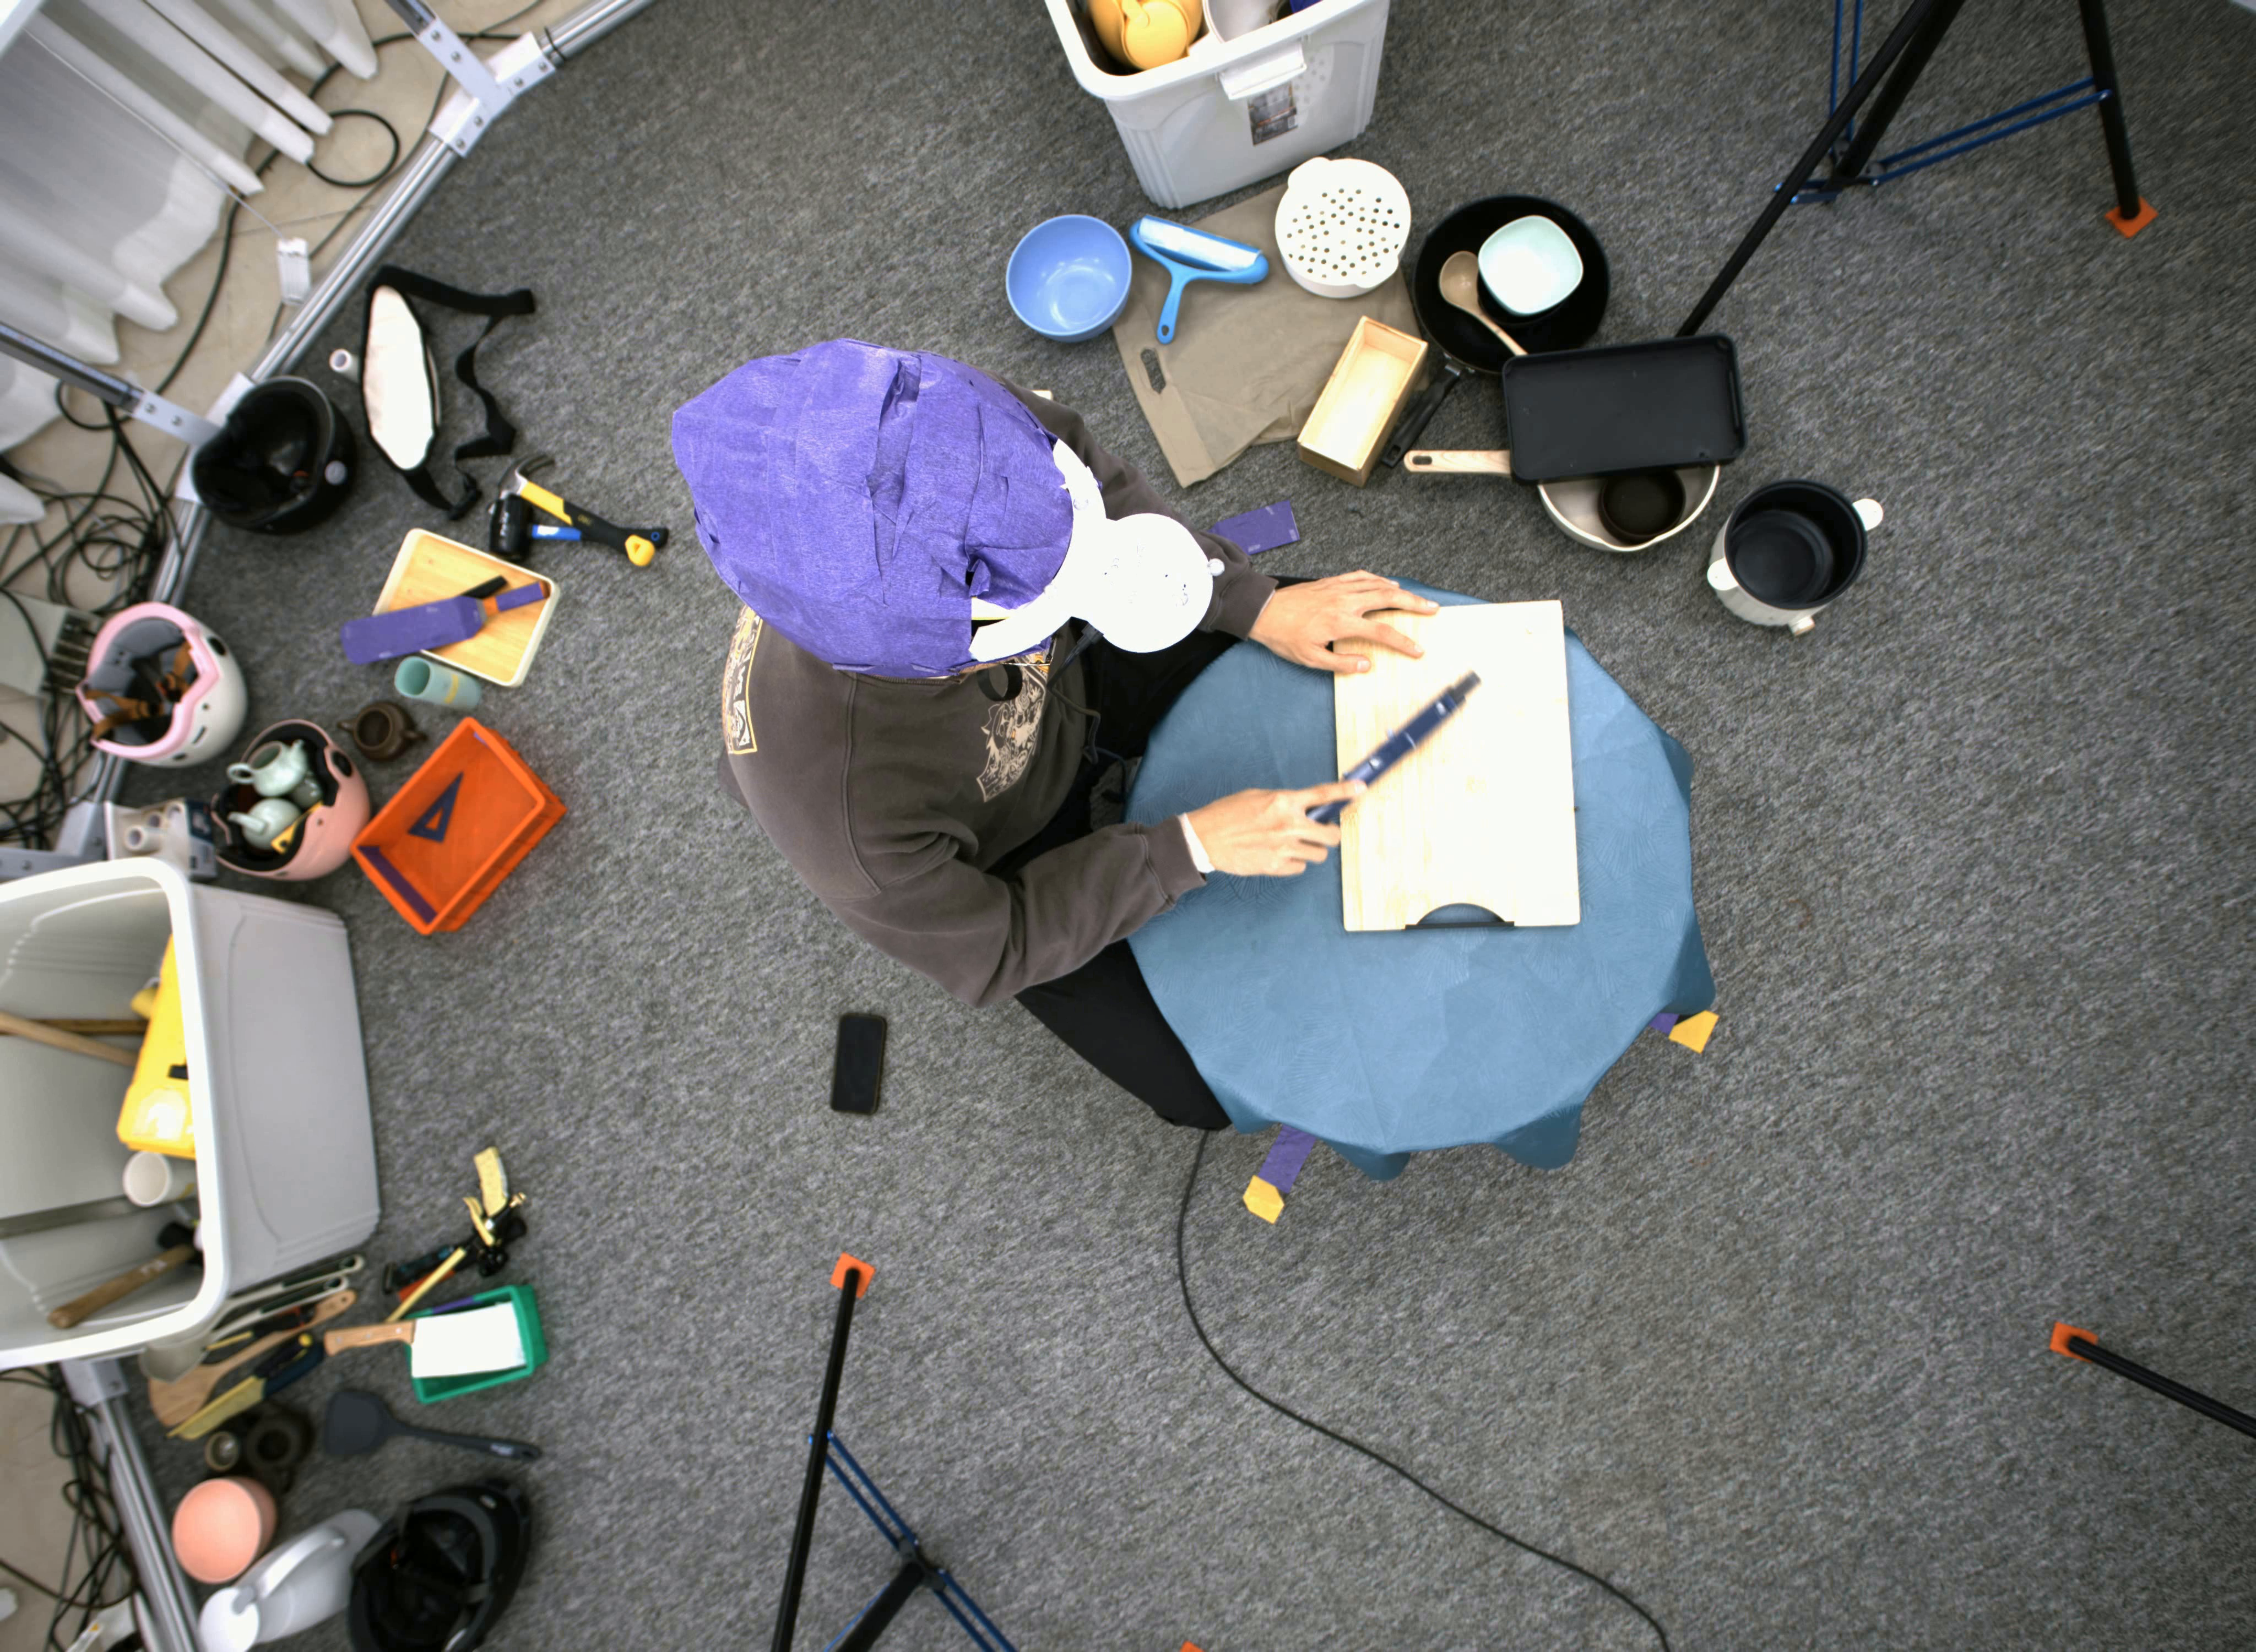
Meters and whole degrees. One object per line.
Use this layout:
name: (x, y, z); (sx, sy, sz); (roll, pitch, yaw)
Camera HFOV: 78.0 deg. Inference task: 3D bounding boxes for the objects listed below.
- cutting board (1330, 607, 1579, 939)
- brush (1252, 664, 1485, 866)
cutting board: (0.340, -0.059, 1.443); (0.252, 0.023, 0.347); (-3, 87, 11)
brush: (0.237, -0.064, 1.367); (0.271, 0.096, 0.033); (-41, 89, -11)
